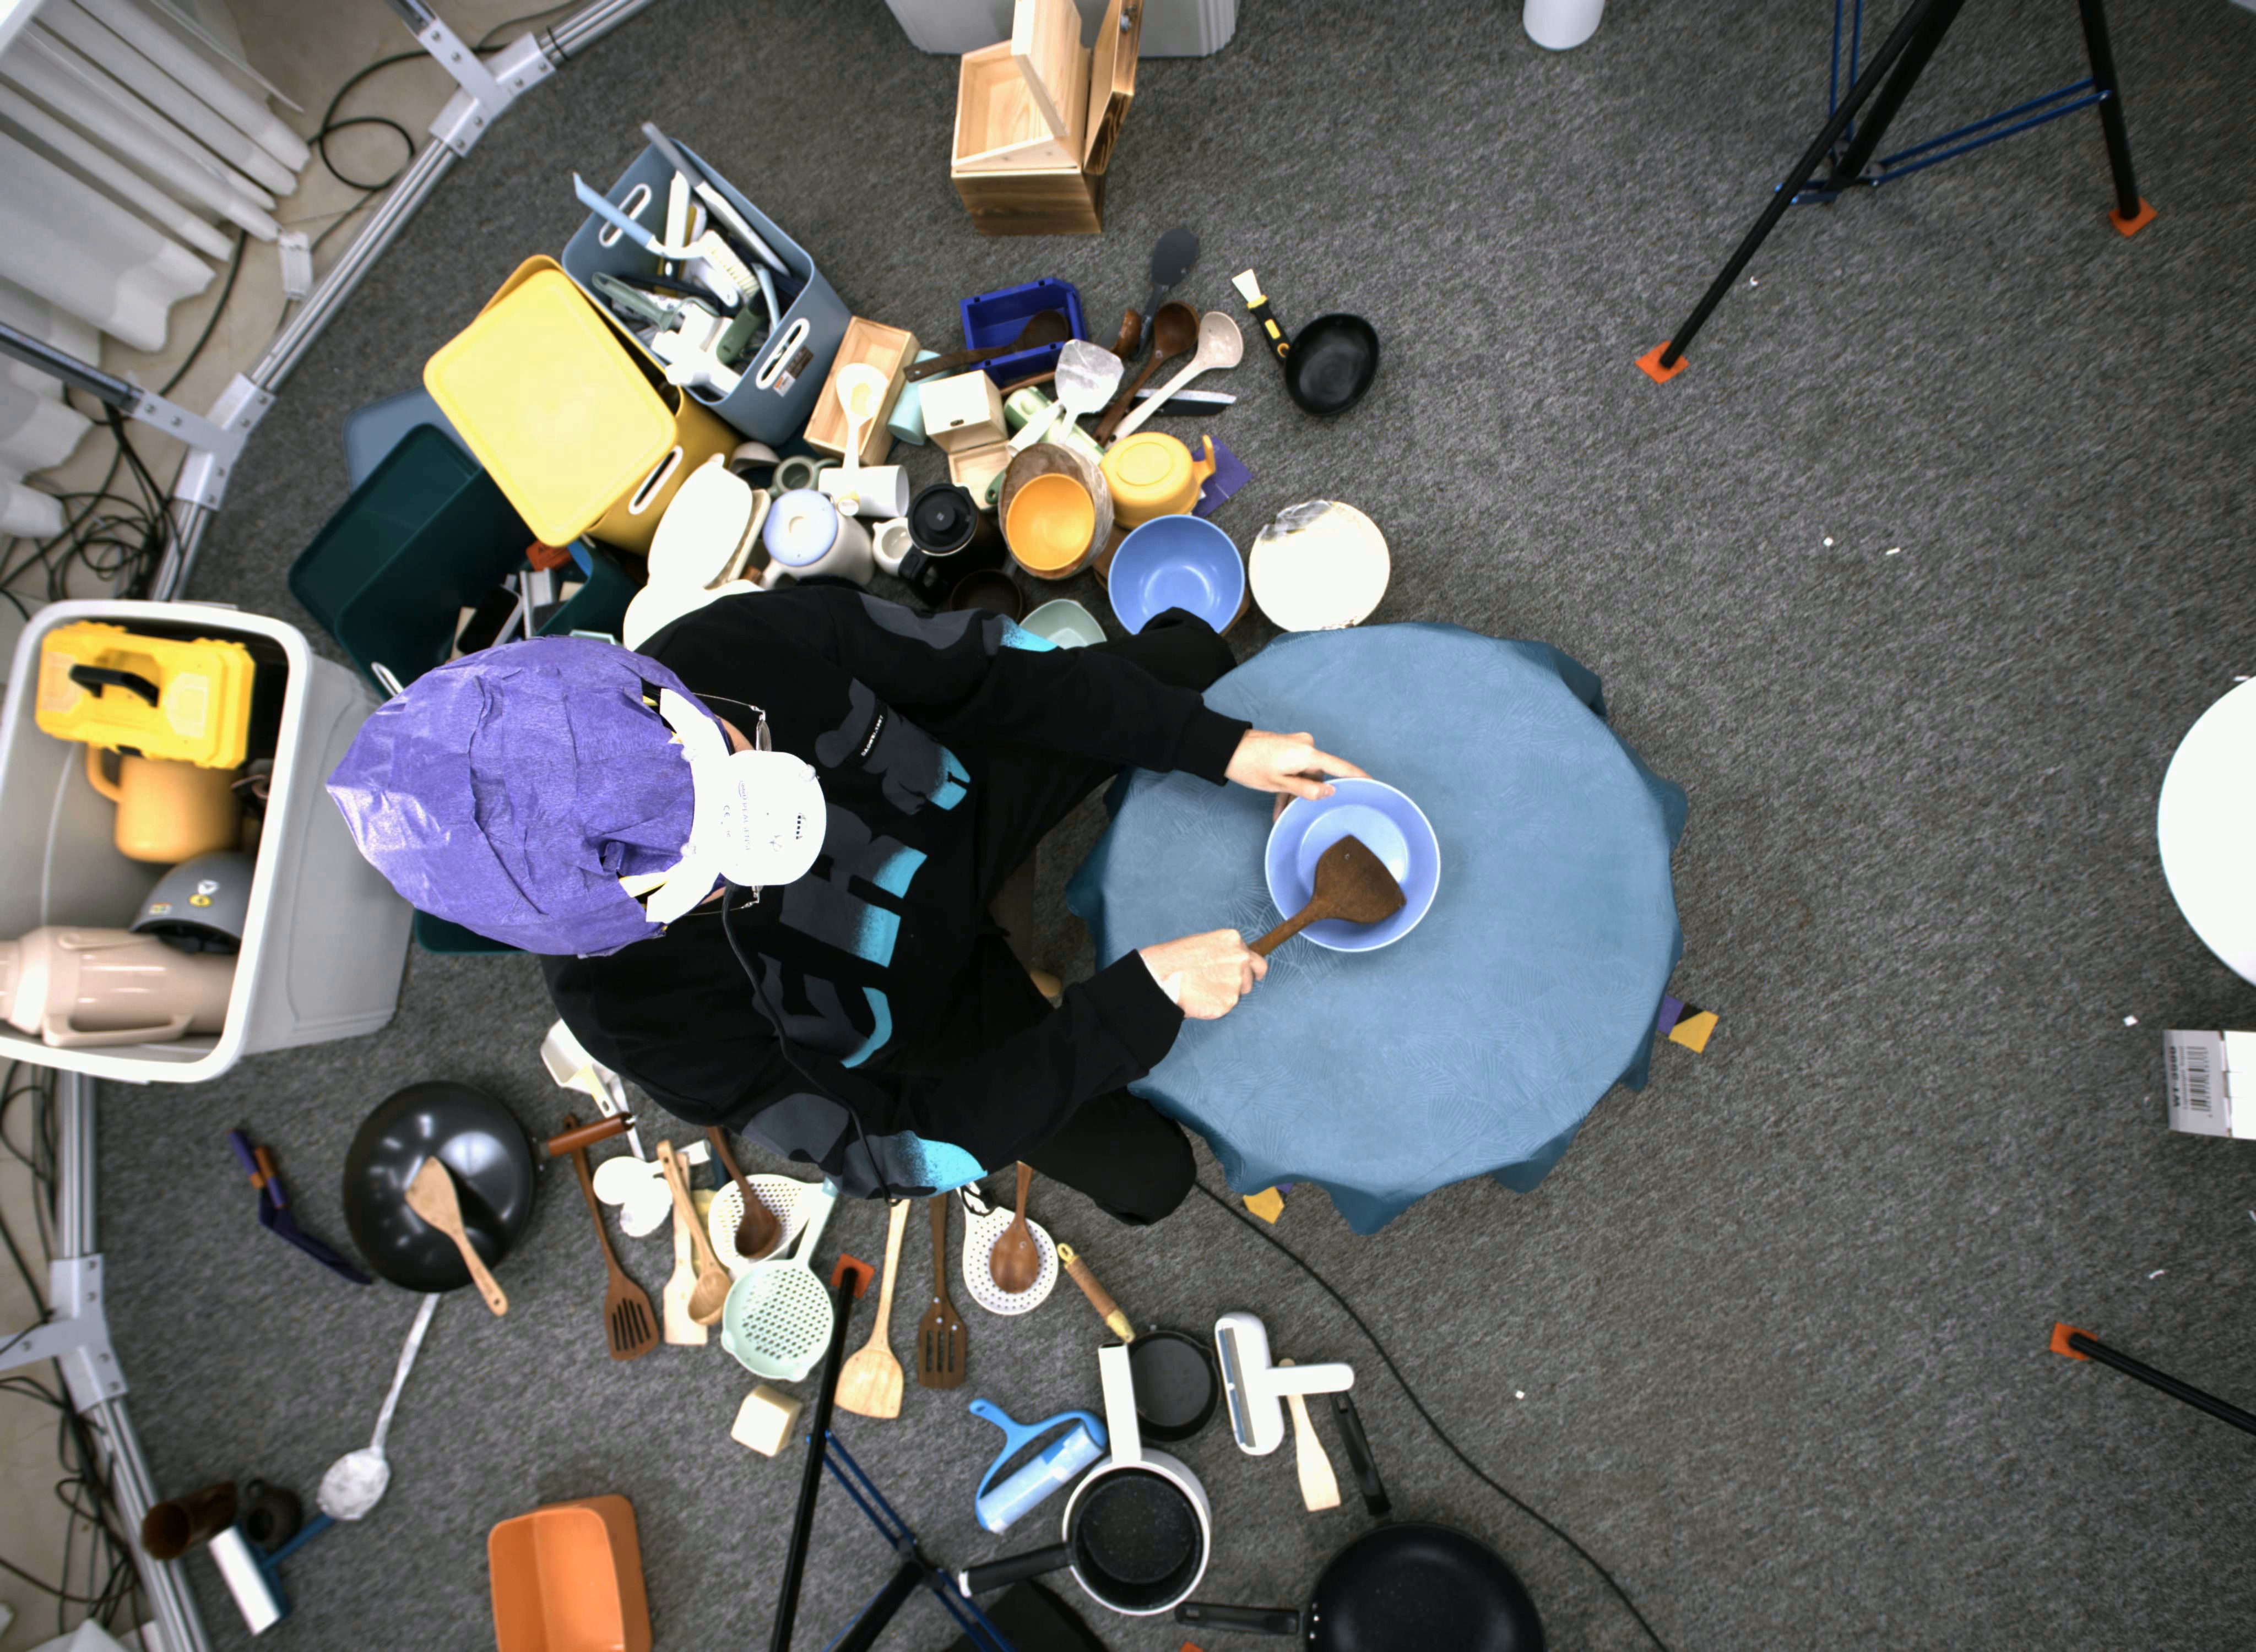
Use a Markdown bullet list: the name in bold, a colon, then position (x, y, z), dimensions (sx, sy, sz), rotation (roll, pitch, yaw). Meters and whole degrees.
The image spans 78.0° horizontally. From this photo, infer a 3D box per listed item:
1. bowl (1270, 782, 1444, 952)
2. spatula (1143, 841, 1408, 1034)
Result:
- **bowl**: position (0.236, 0.038, 1.431), dimensions (0.176, 0.069, 0.177), rotation (1, 99, 10)
- **spatula**: position (0.143, 0.109, 1.320), dimensions (0.095, 0.379, 0.016), rotation (52, 136, 12)
